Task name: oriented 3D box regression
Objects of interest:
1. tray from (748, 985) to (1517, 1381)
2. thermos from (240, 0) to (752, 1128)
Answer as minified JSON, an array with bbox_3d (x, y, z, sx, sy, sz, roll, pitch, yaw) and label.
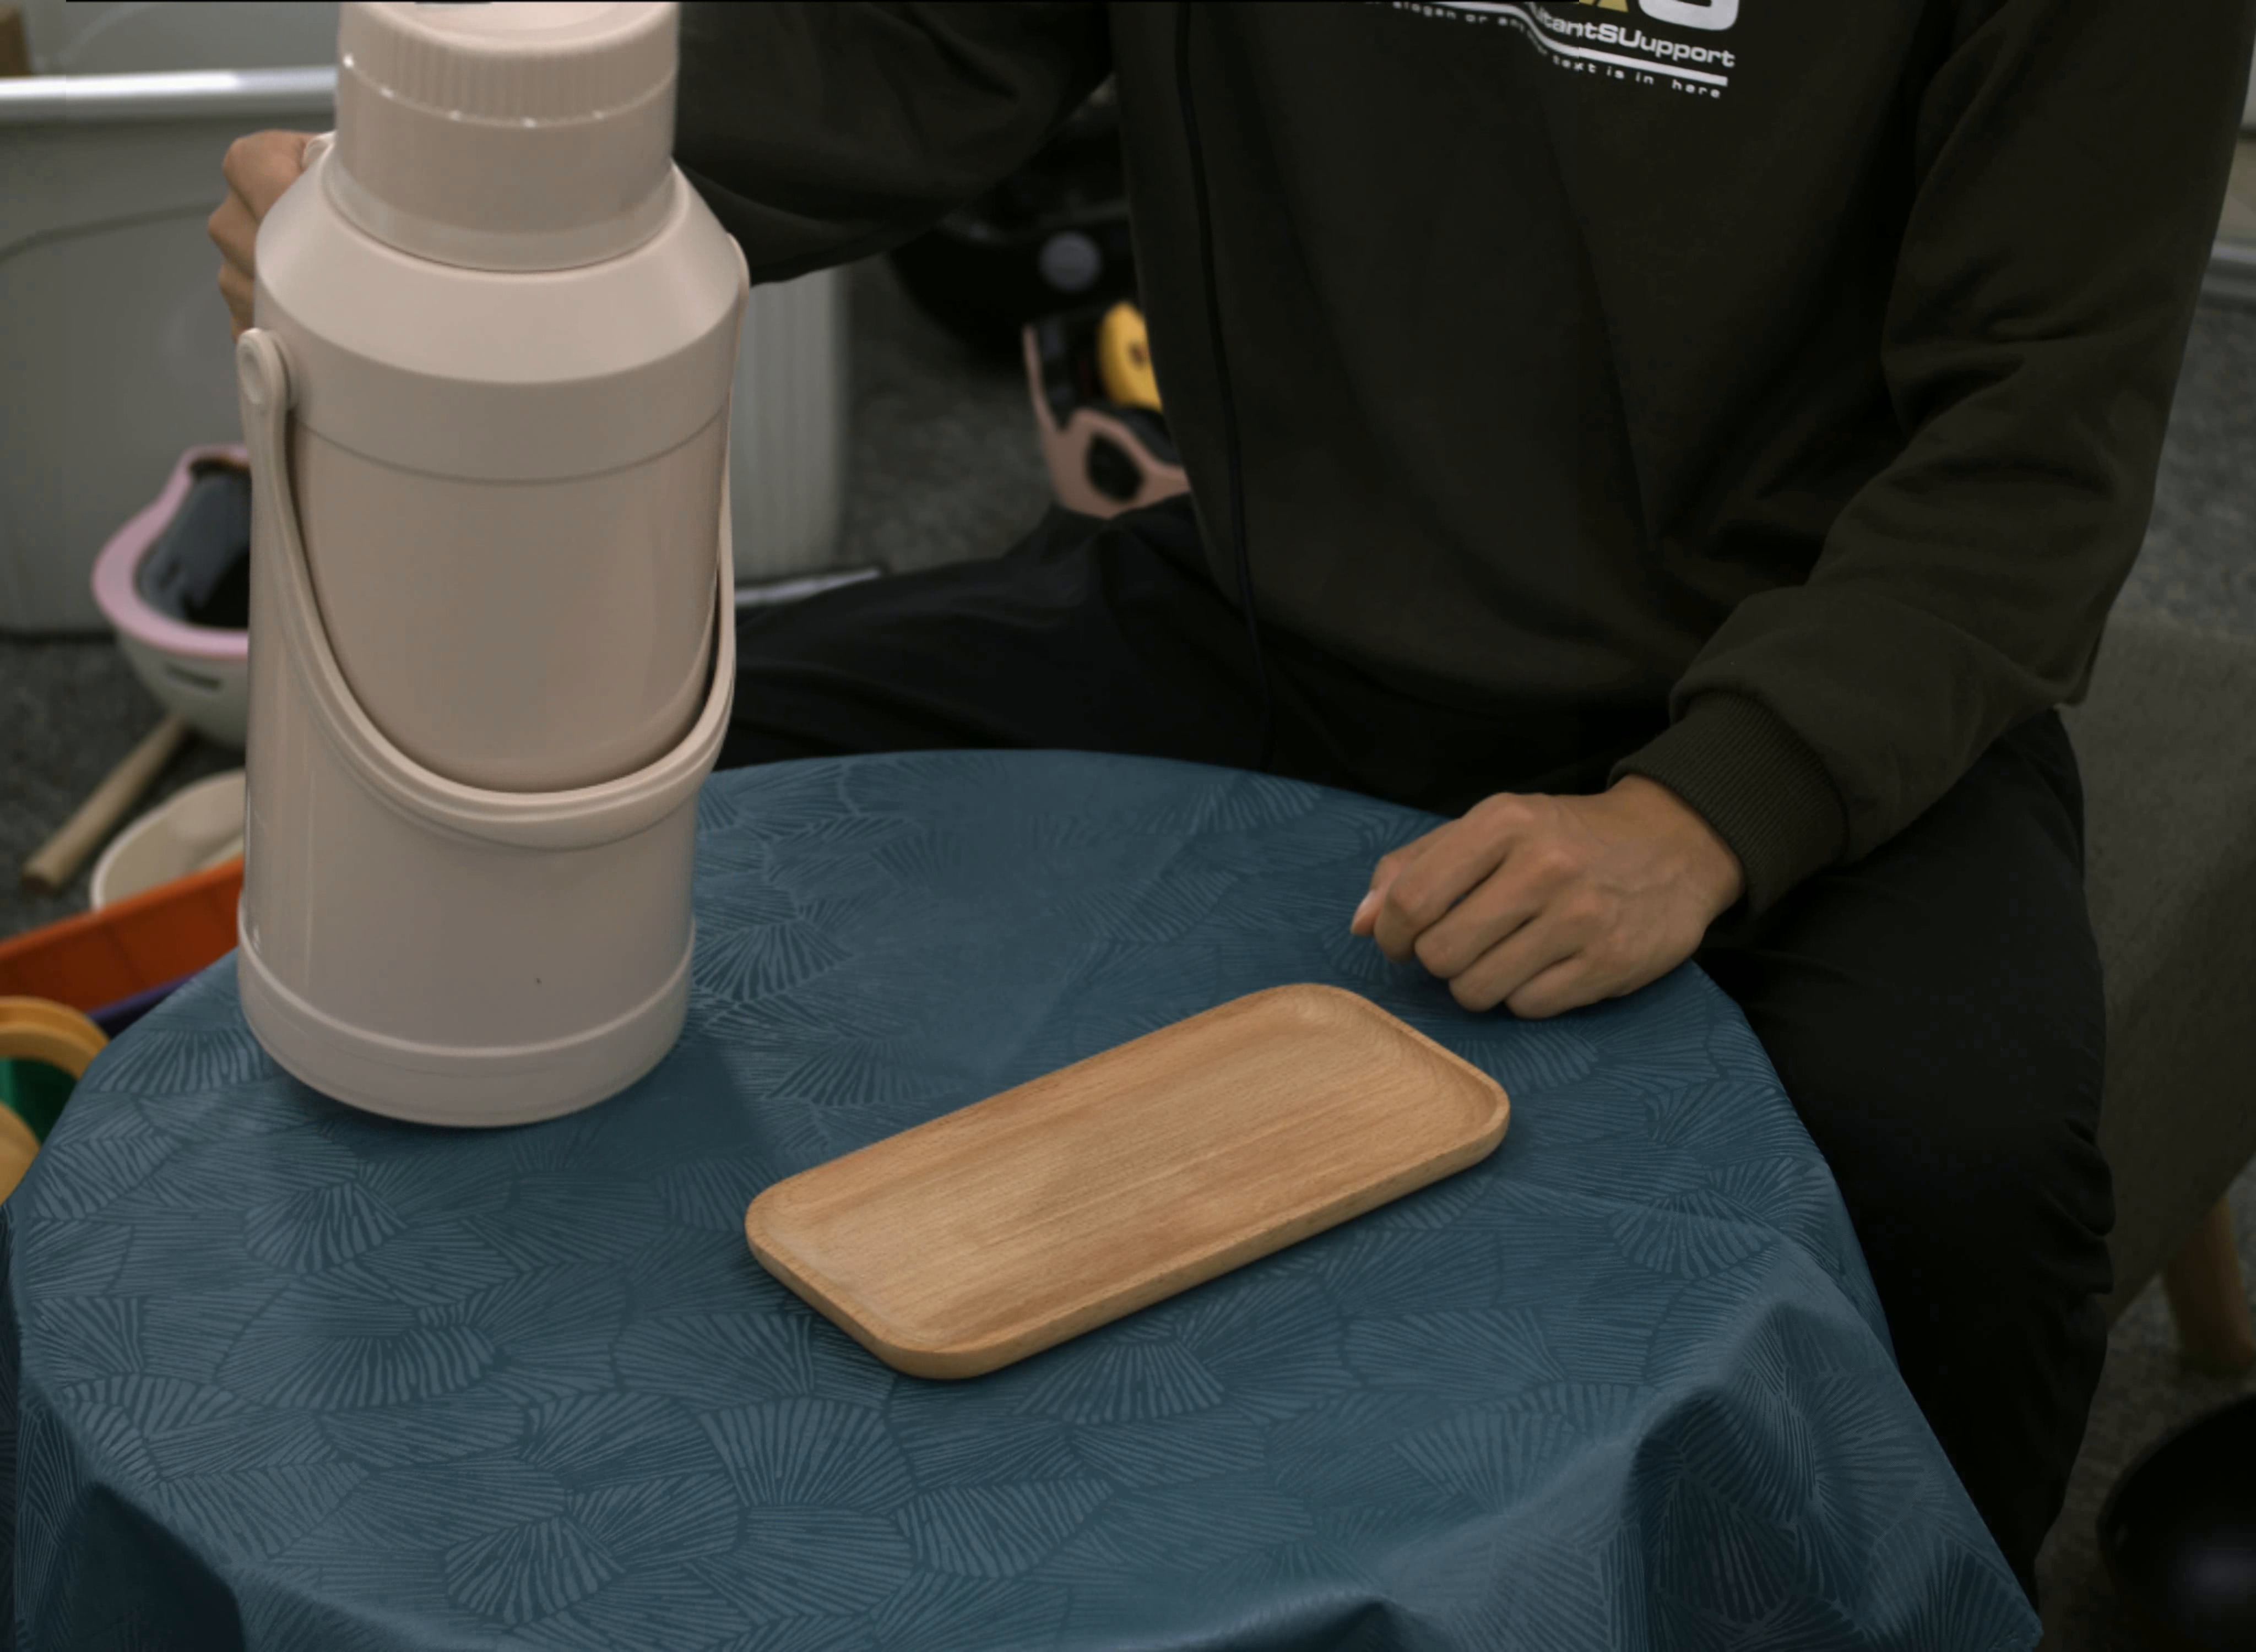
[{"bbox_3d":[0.003,0.117,1.858,0.253,0.022,0.131,-19,34,-30],"label":"tray"},{"bbox_3d":[-0.217,-0.111,1.880,0.176,0.400,0.208,-17,40,-30],"label":"thermos"}]
